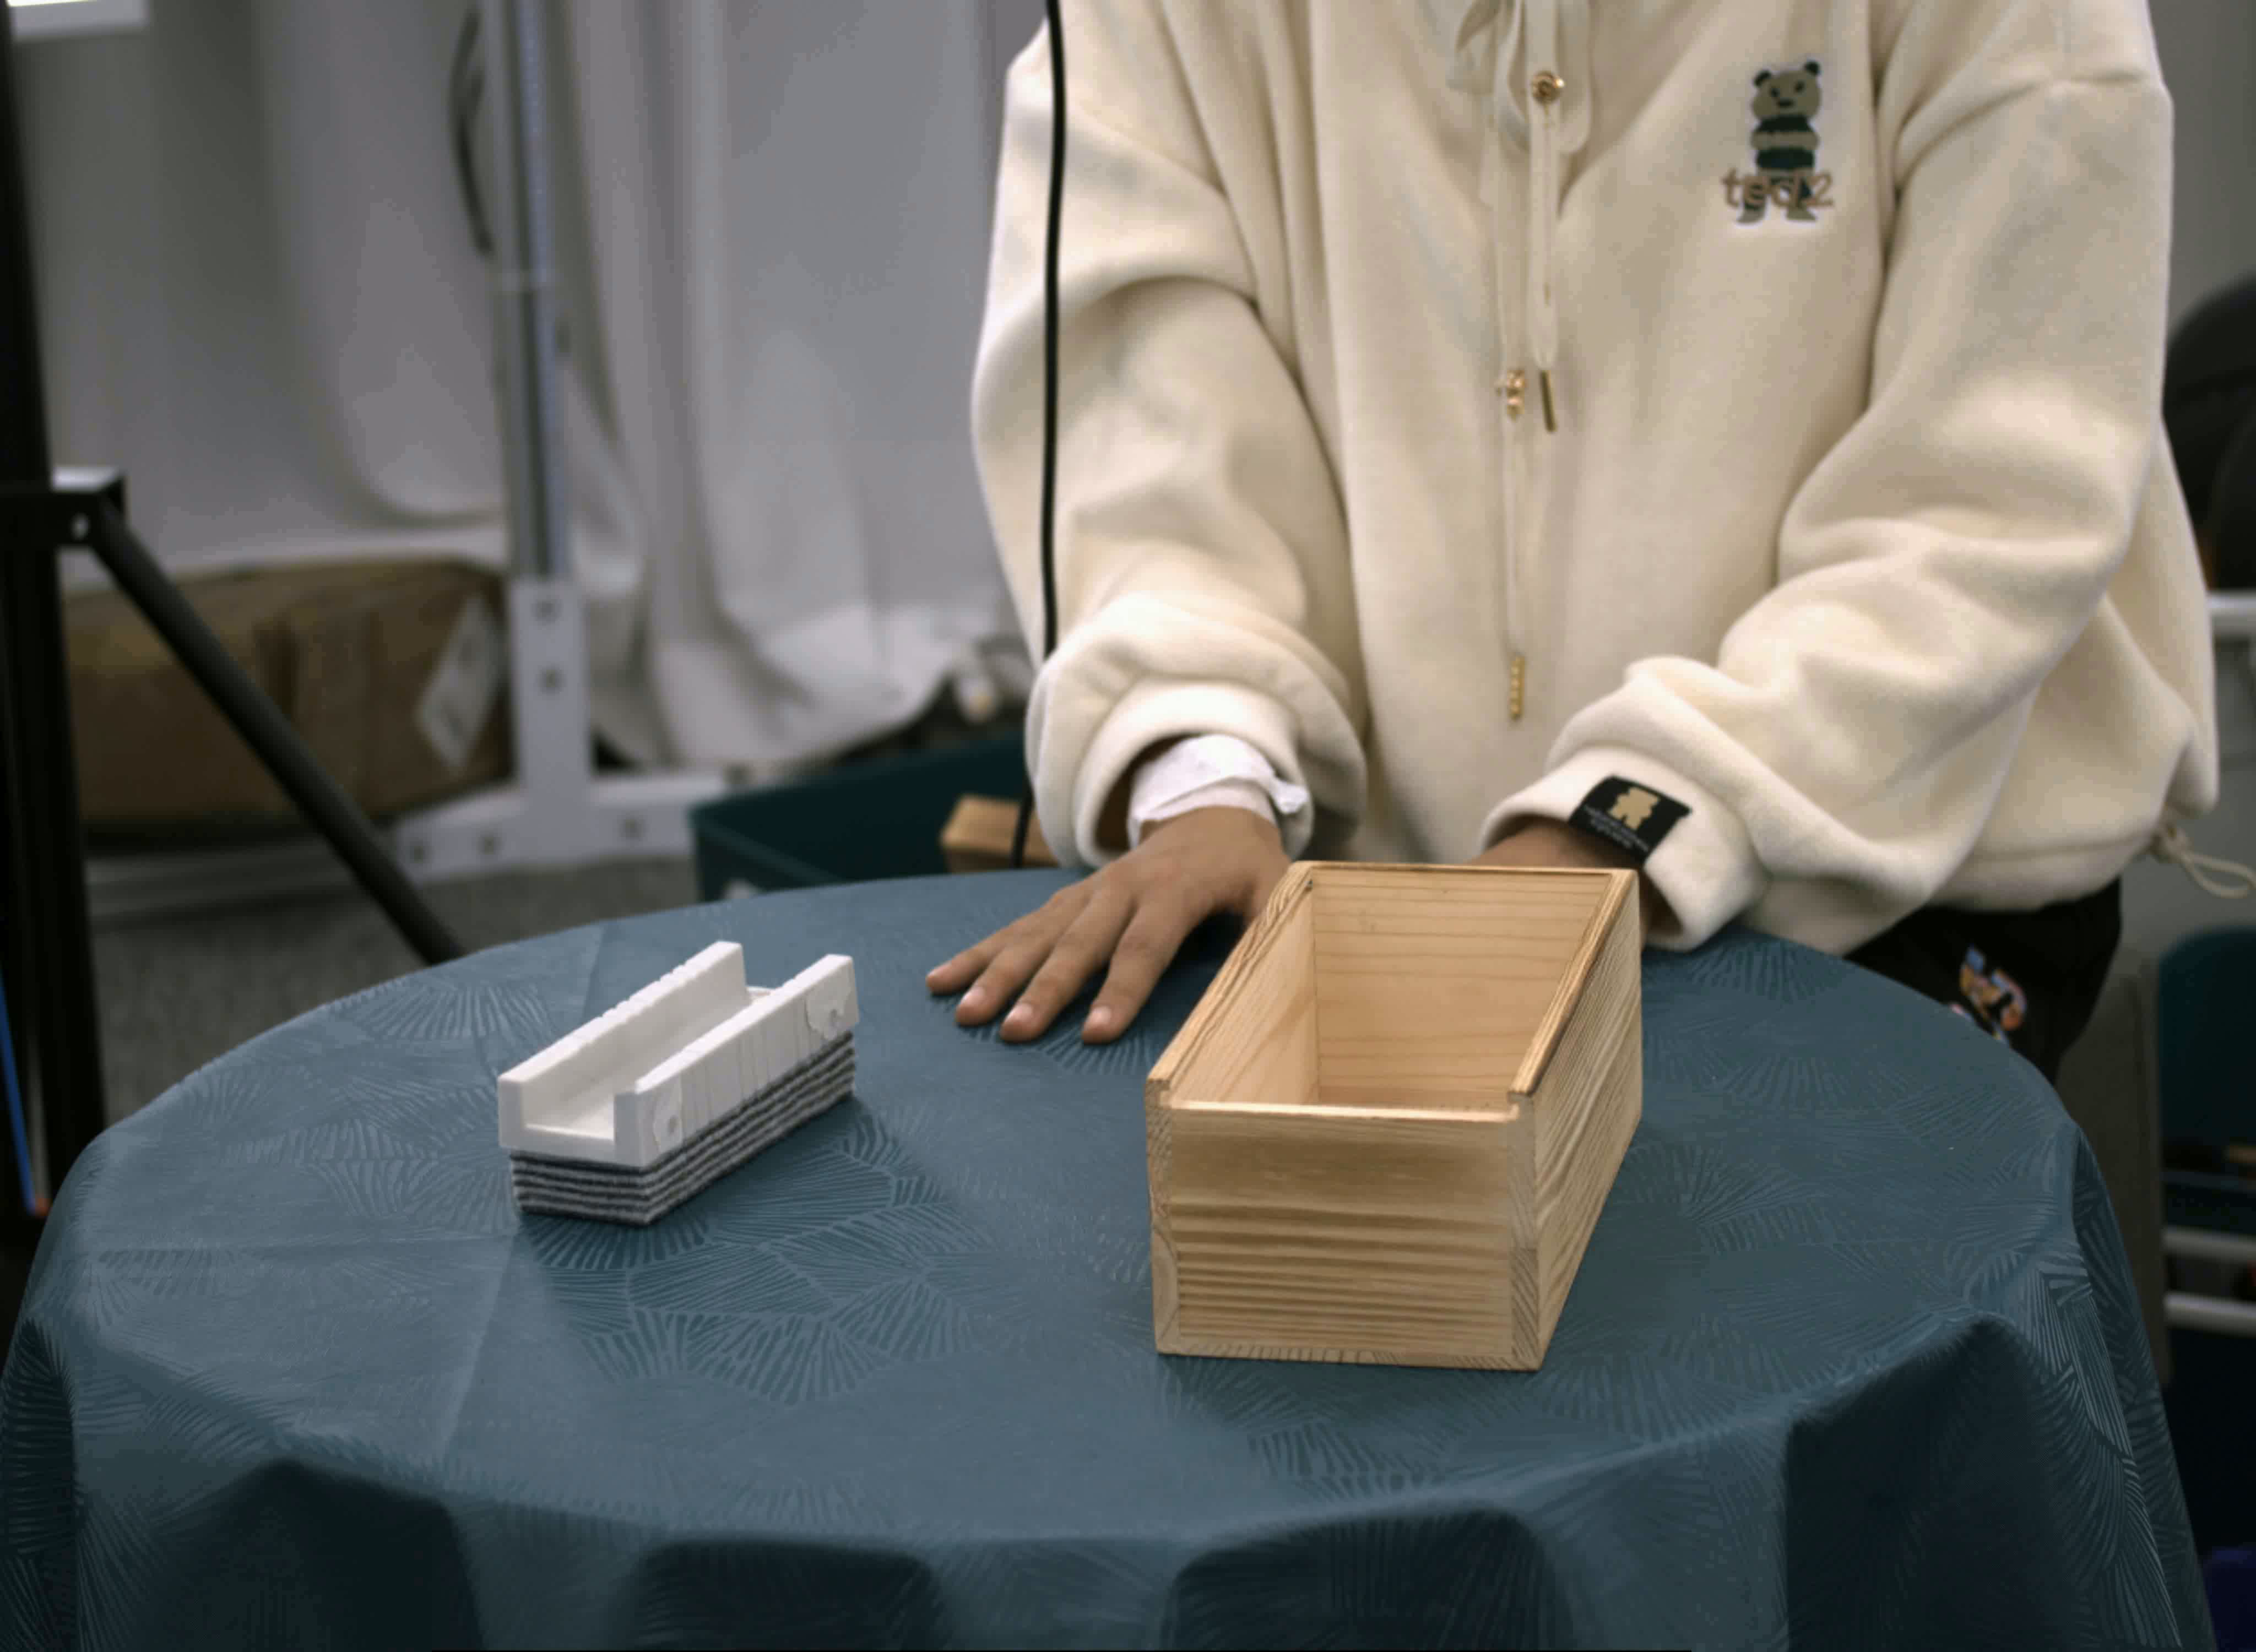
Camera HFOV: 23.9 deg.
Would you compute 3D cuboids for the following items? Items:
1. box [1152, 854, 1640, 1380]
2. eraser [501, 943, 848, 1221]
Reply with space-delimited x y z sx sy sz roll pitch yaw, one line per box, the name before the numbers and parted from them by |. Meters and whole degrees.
box | 0.081 0.078 1.505 0.108 0.080 0.210 2 17 12
eraser | -0.135 0.076 1.607 0.050 0.046 0.132 2 18 24
